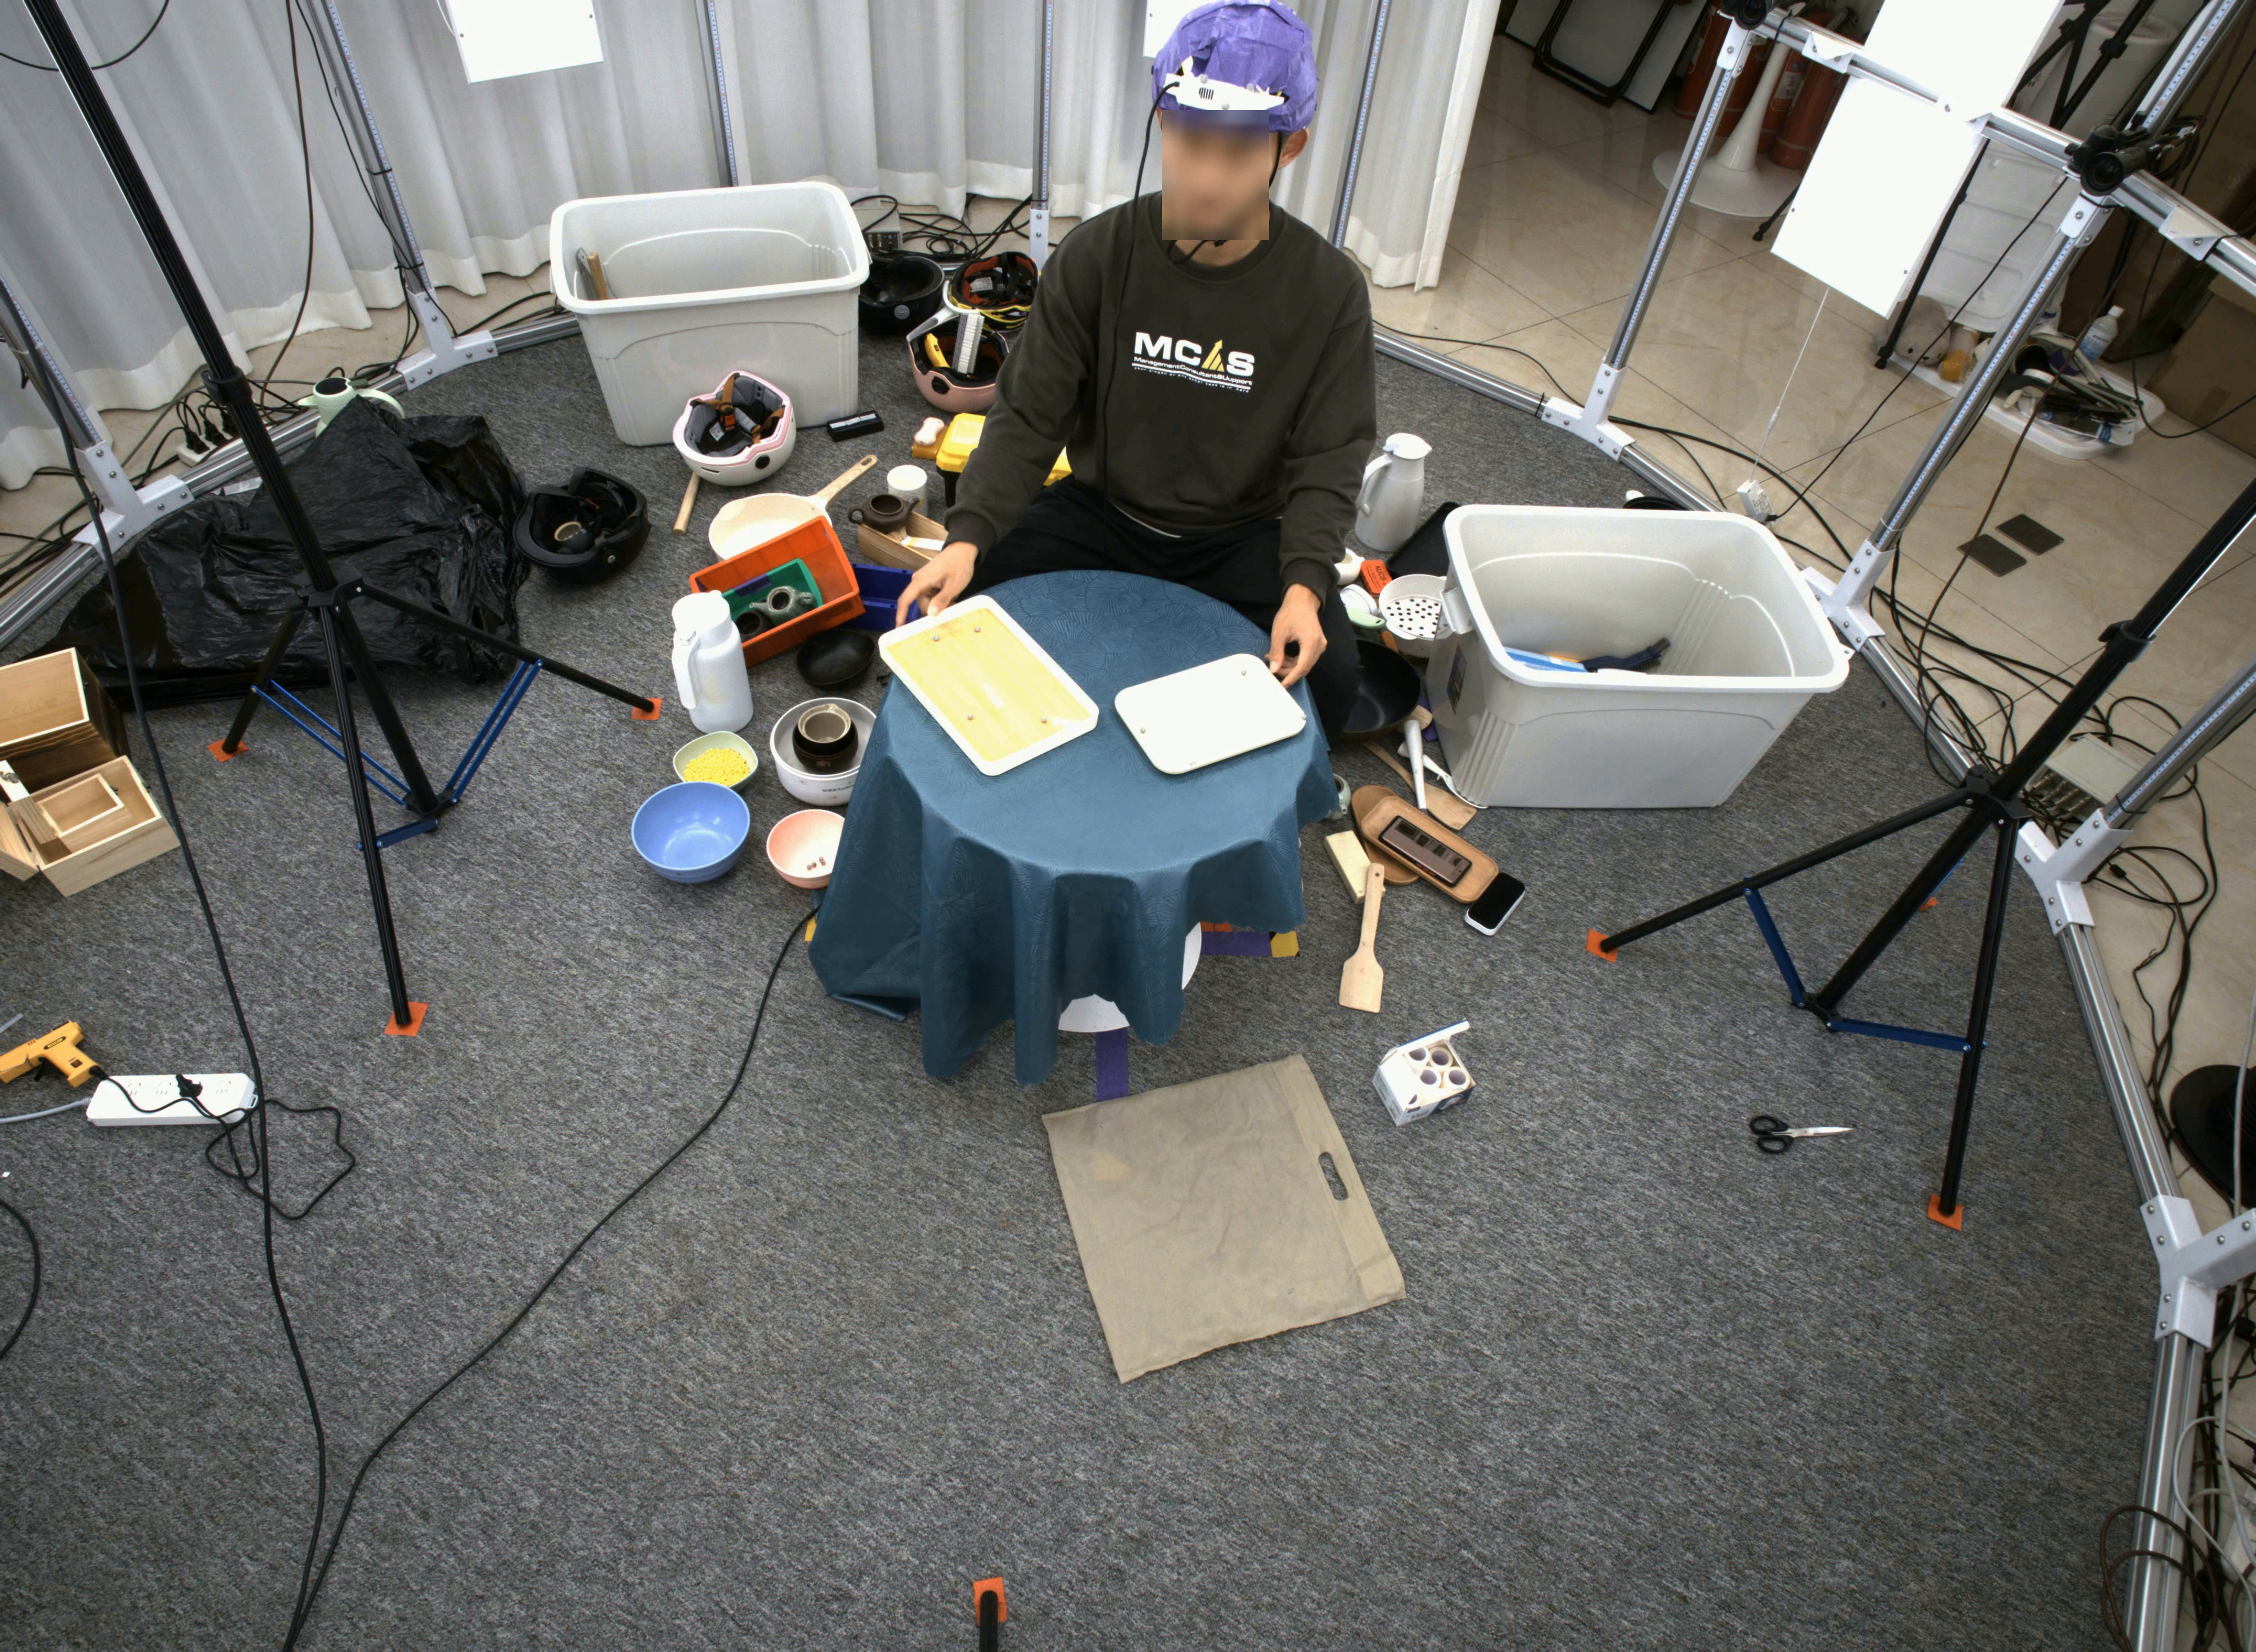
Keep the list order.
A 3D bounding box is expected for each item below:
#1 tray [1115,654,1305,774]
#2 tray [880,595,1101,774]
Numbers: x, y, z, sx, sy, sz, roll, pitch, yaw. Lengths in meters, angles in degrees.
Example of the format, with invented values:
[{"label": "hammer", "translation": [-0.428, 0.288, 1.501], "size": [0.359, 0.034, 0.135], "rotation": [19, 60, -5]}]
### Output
[{"label": "tray", "translation": [0.115, -0.158, 1.799], "size": [0.240, 0.017, 0.175], "rotation": [-19, 52, -20]}, {"label": "tray", "translation": [-0.195, -0.205, 1.810], "size": [0.192, 0.027, 0.306], "rotation": [-27, 56, -25]}]
